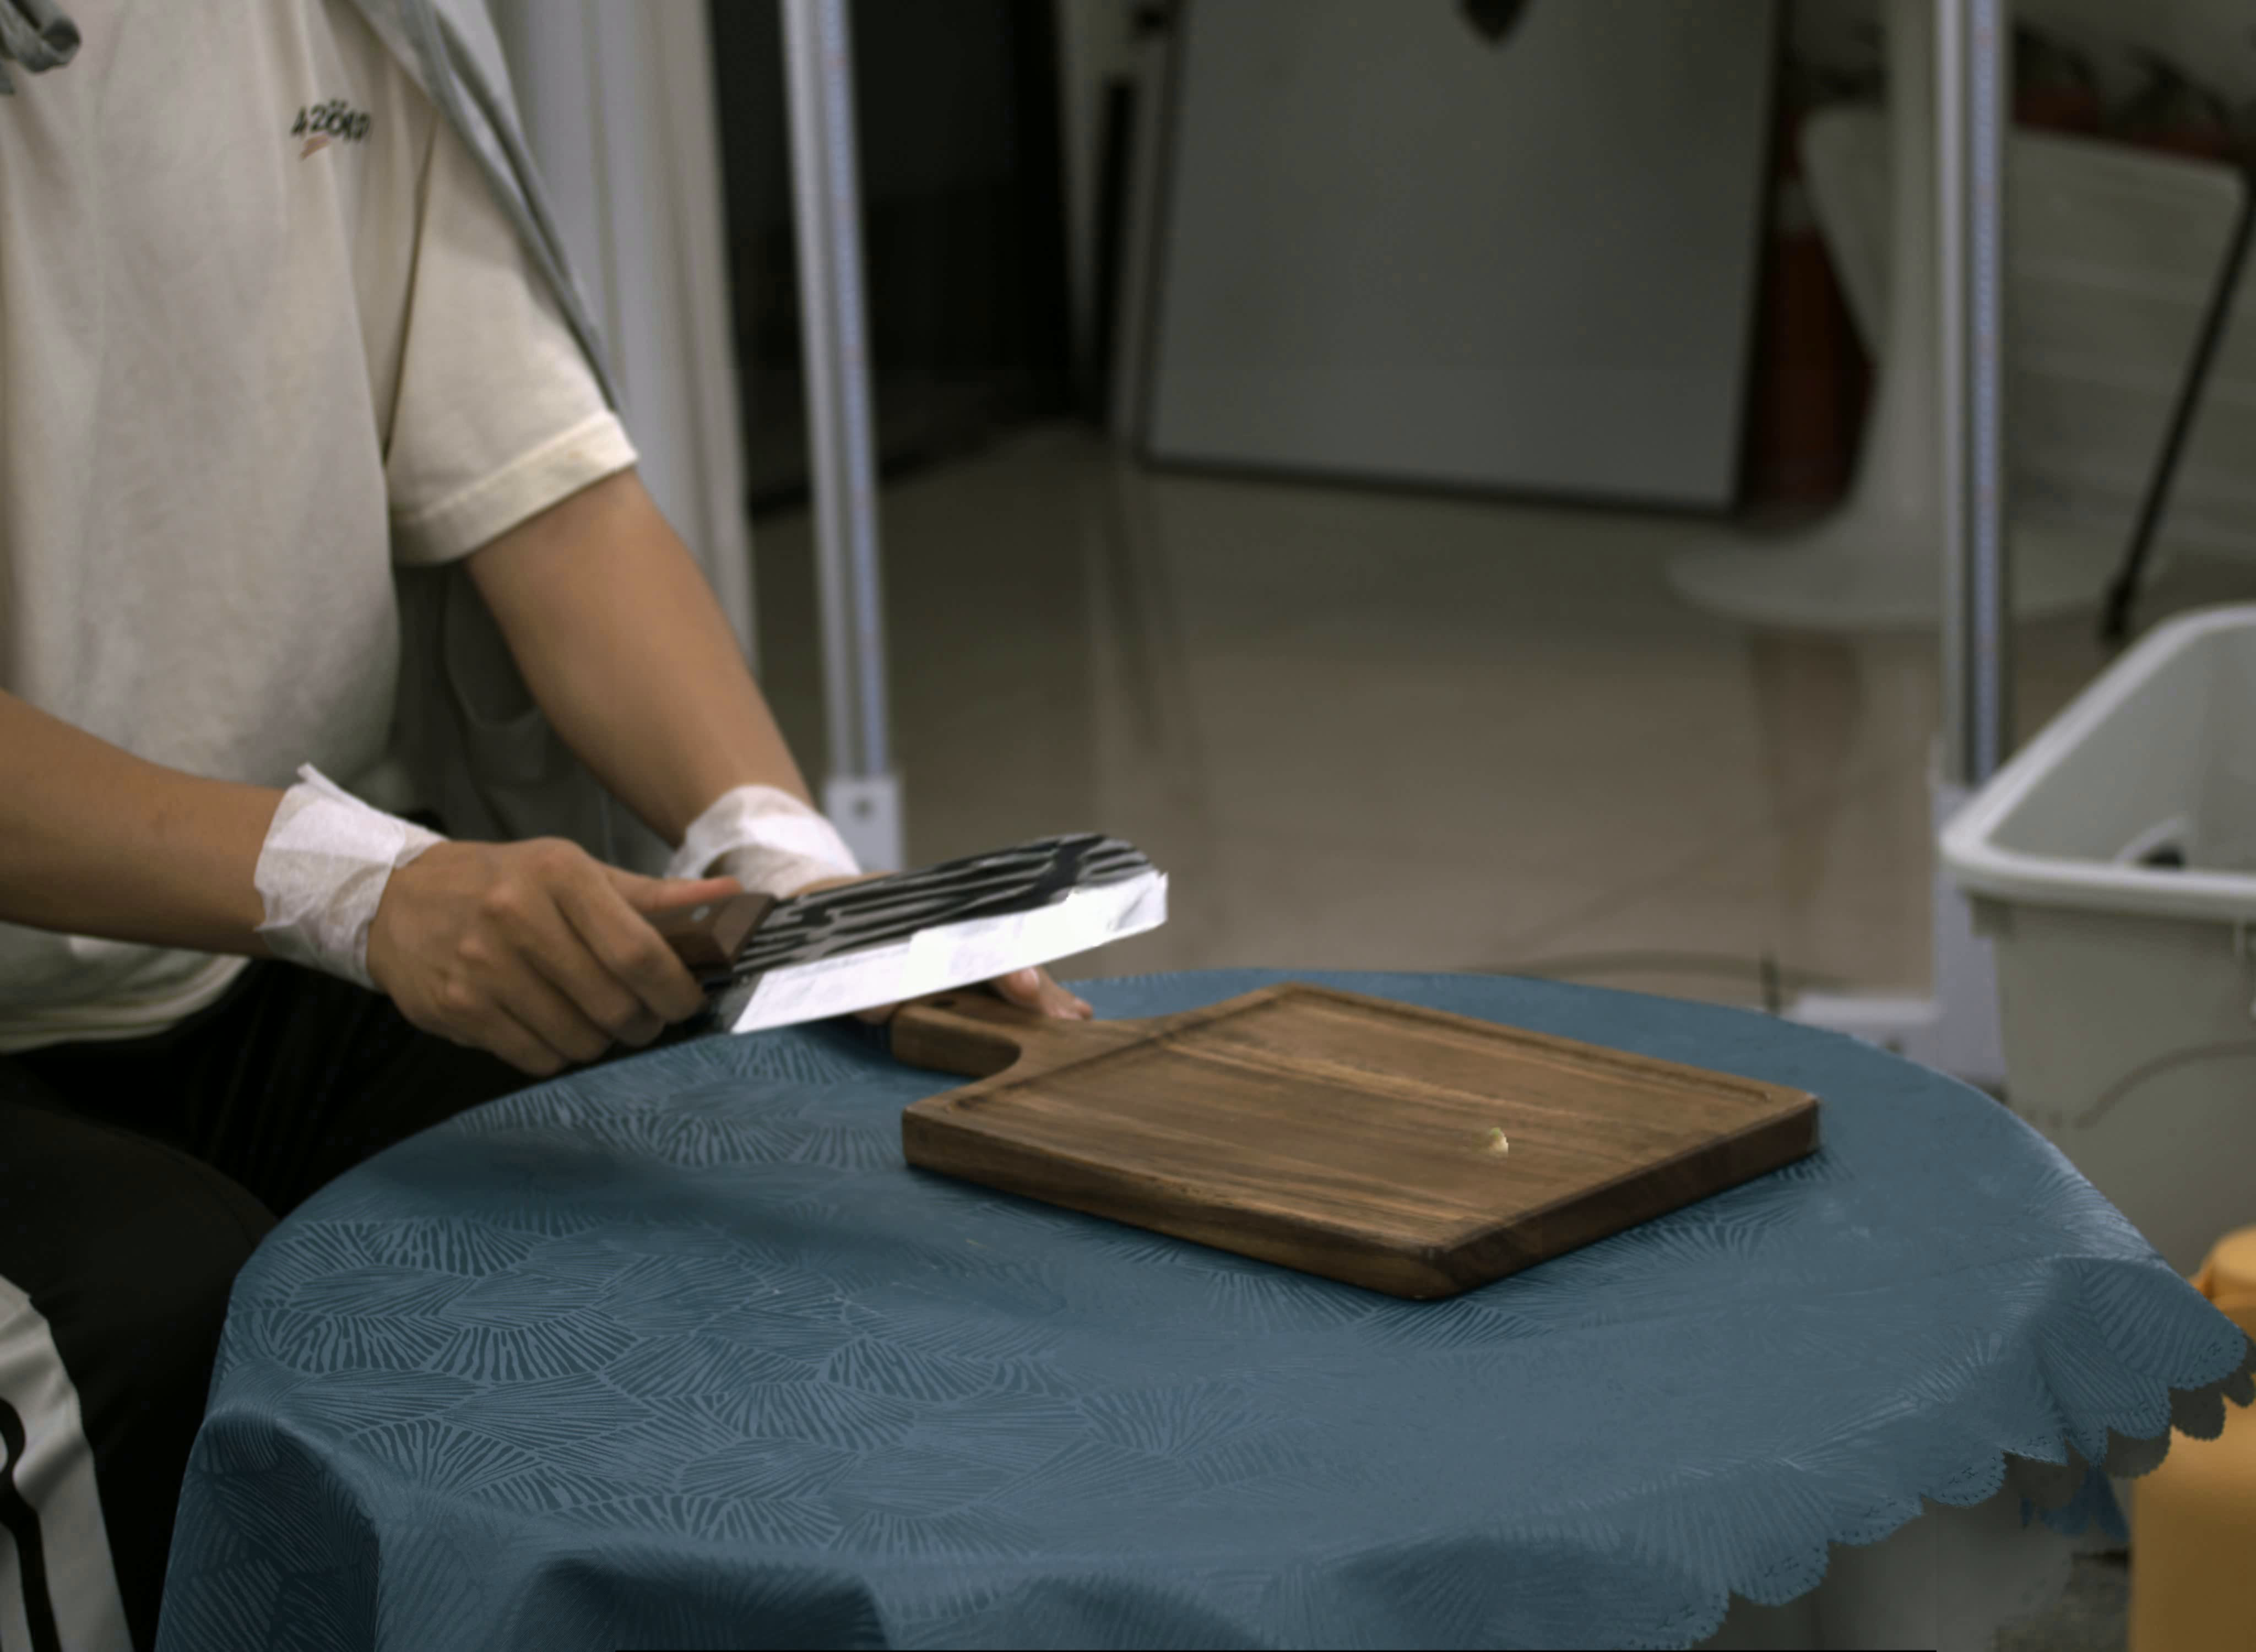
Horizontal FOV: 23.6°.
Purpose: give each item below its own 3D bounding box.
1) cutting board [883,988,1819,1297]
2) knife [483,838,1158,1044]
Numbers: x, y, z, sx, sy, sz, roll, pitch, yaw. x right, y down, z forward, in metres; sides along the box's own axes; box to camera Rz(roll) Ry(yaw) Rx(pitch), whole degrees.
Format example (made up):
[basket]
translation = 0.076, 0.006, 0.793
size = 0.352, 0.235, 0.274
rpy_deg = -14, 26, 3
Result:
[cutting board]
translation = 0.042, 0.095, 1.826
size = 0.197, 0.023, 0.355
rpy_deg = -16, 18, -41
[knife]
translation = -0.106, 0.044, 1.770
size = 0.301, 0.024, 0.068
rpy_deg = -13, 35, 35
